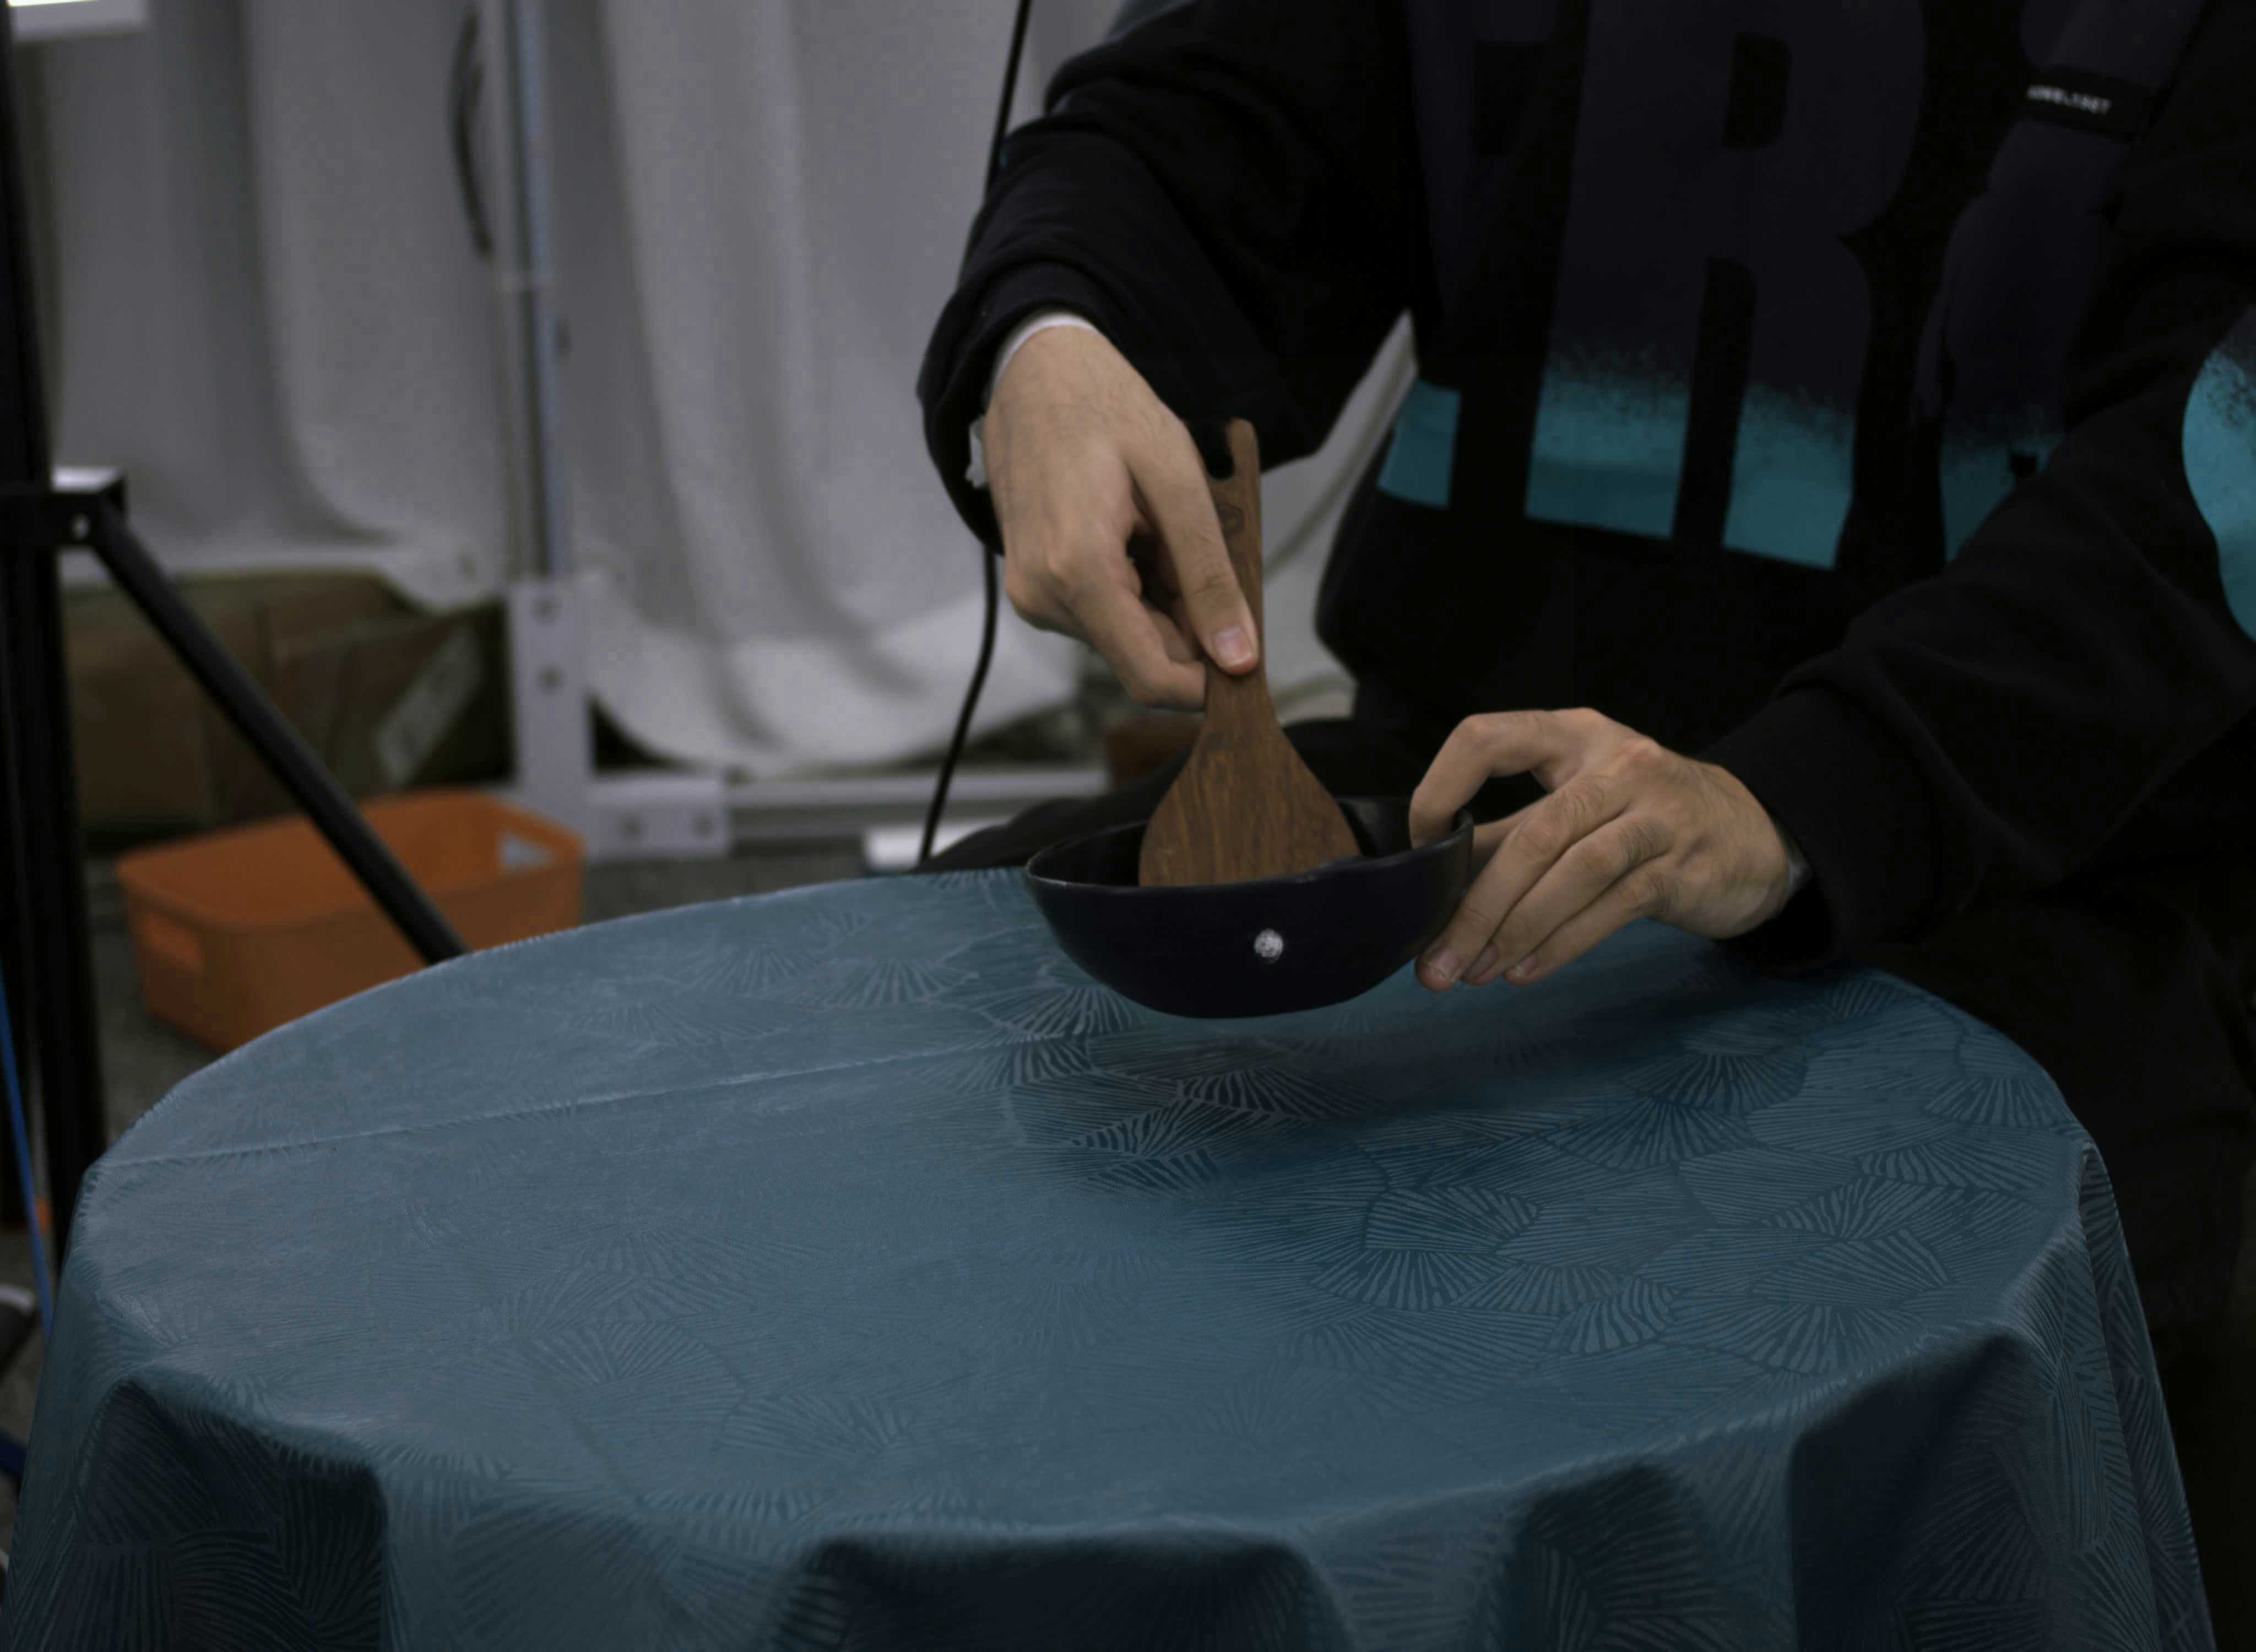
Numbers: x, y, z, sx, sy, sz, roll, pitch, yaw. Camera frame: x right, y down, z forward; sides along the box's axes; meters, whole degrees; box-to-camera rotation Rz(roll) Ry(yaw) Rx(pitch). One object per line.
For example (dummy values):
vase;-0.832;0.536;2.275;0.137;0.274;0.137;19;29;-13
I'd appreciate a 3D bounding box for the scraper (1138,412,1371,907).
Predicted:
scraper;0.036;-0.045;1.698;0.075;0.011;0.214;-2;58;-3

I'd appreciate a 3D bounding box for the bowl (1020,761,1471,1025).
bowl;0.039;0.026;1.625;0.139;0.049;0.141;-9;17;1
